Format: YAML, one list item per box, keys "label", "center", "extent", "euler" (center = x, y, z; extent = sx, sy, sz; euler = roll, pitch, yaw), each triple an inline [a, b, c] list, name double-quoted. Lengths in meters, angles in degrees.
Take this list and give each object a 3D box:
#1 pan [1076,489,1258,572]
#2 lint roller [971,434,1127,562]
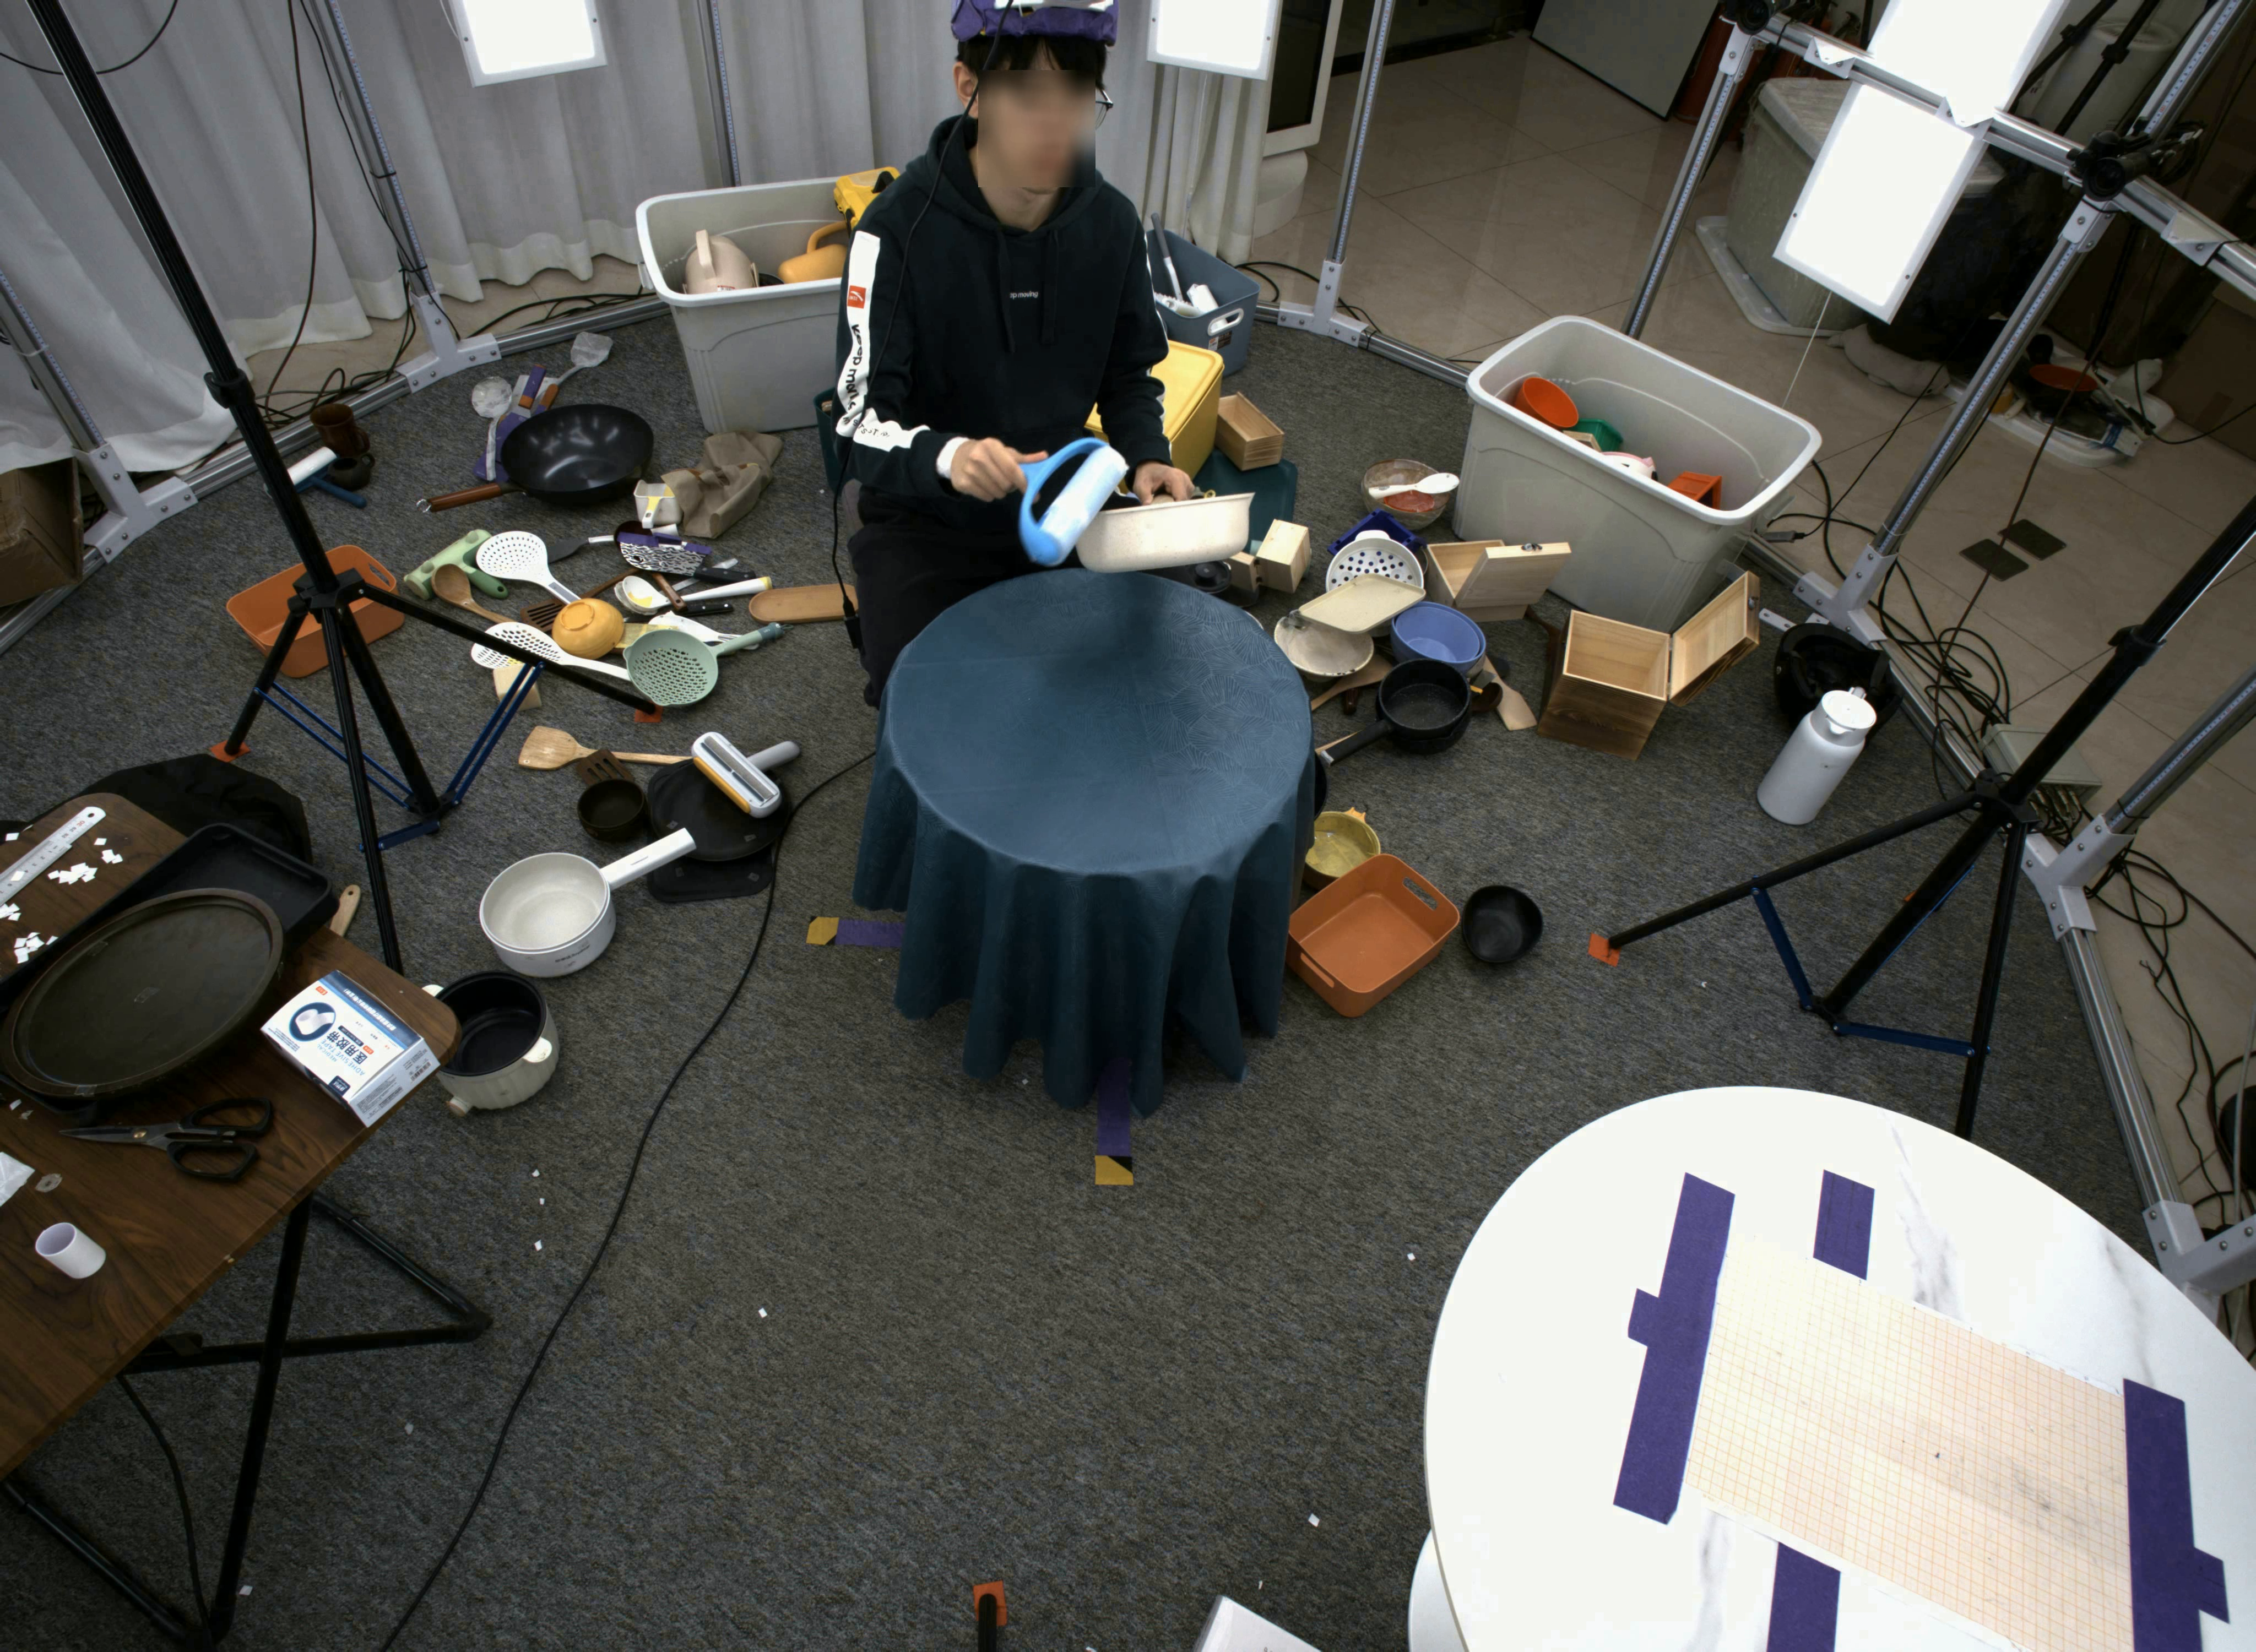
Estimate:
- label: "pan"
  center: [0.054, -0.427, 1.837]
  extent: [0.263, 0.101, 0.439]
  euler: [-7, 13, 4]
- label: "lint roller"
  center: [-0.116, -0.429, 1.634]
  extent: [0.181, 0.066, 0.233]
  euler: [18, 51, 9]
